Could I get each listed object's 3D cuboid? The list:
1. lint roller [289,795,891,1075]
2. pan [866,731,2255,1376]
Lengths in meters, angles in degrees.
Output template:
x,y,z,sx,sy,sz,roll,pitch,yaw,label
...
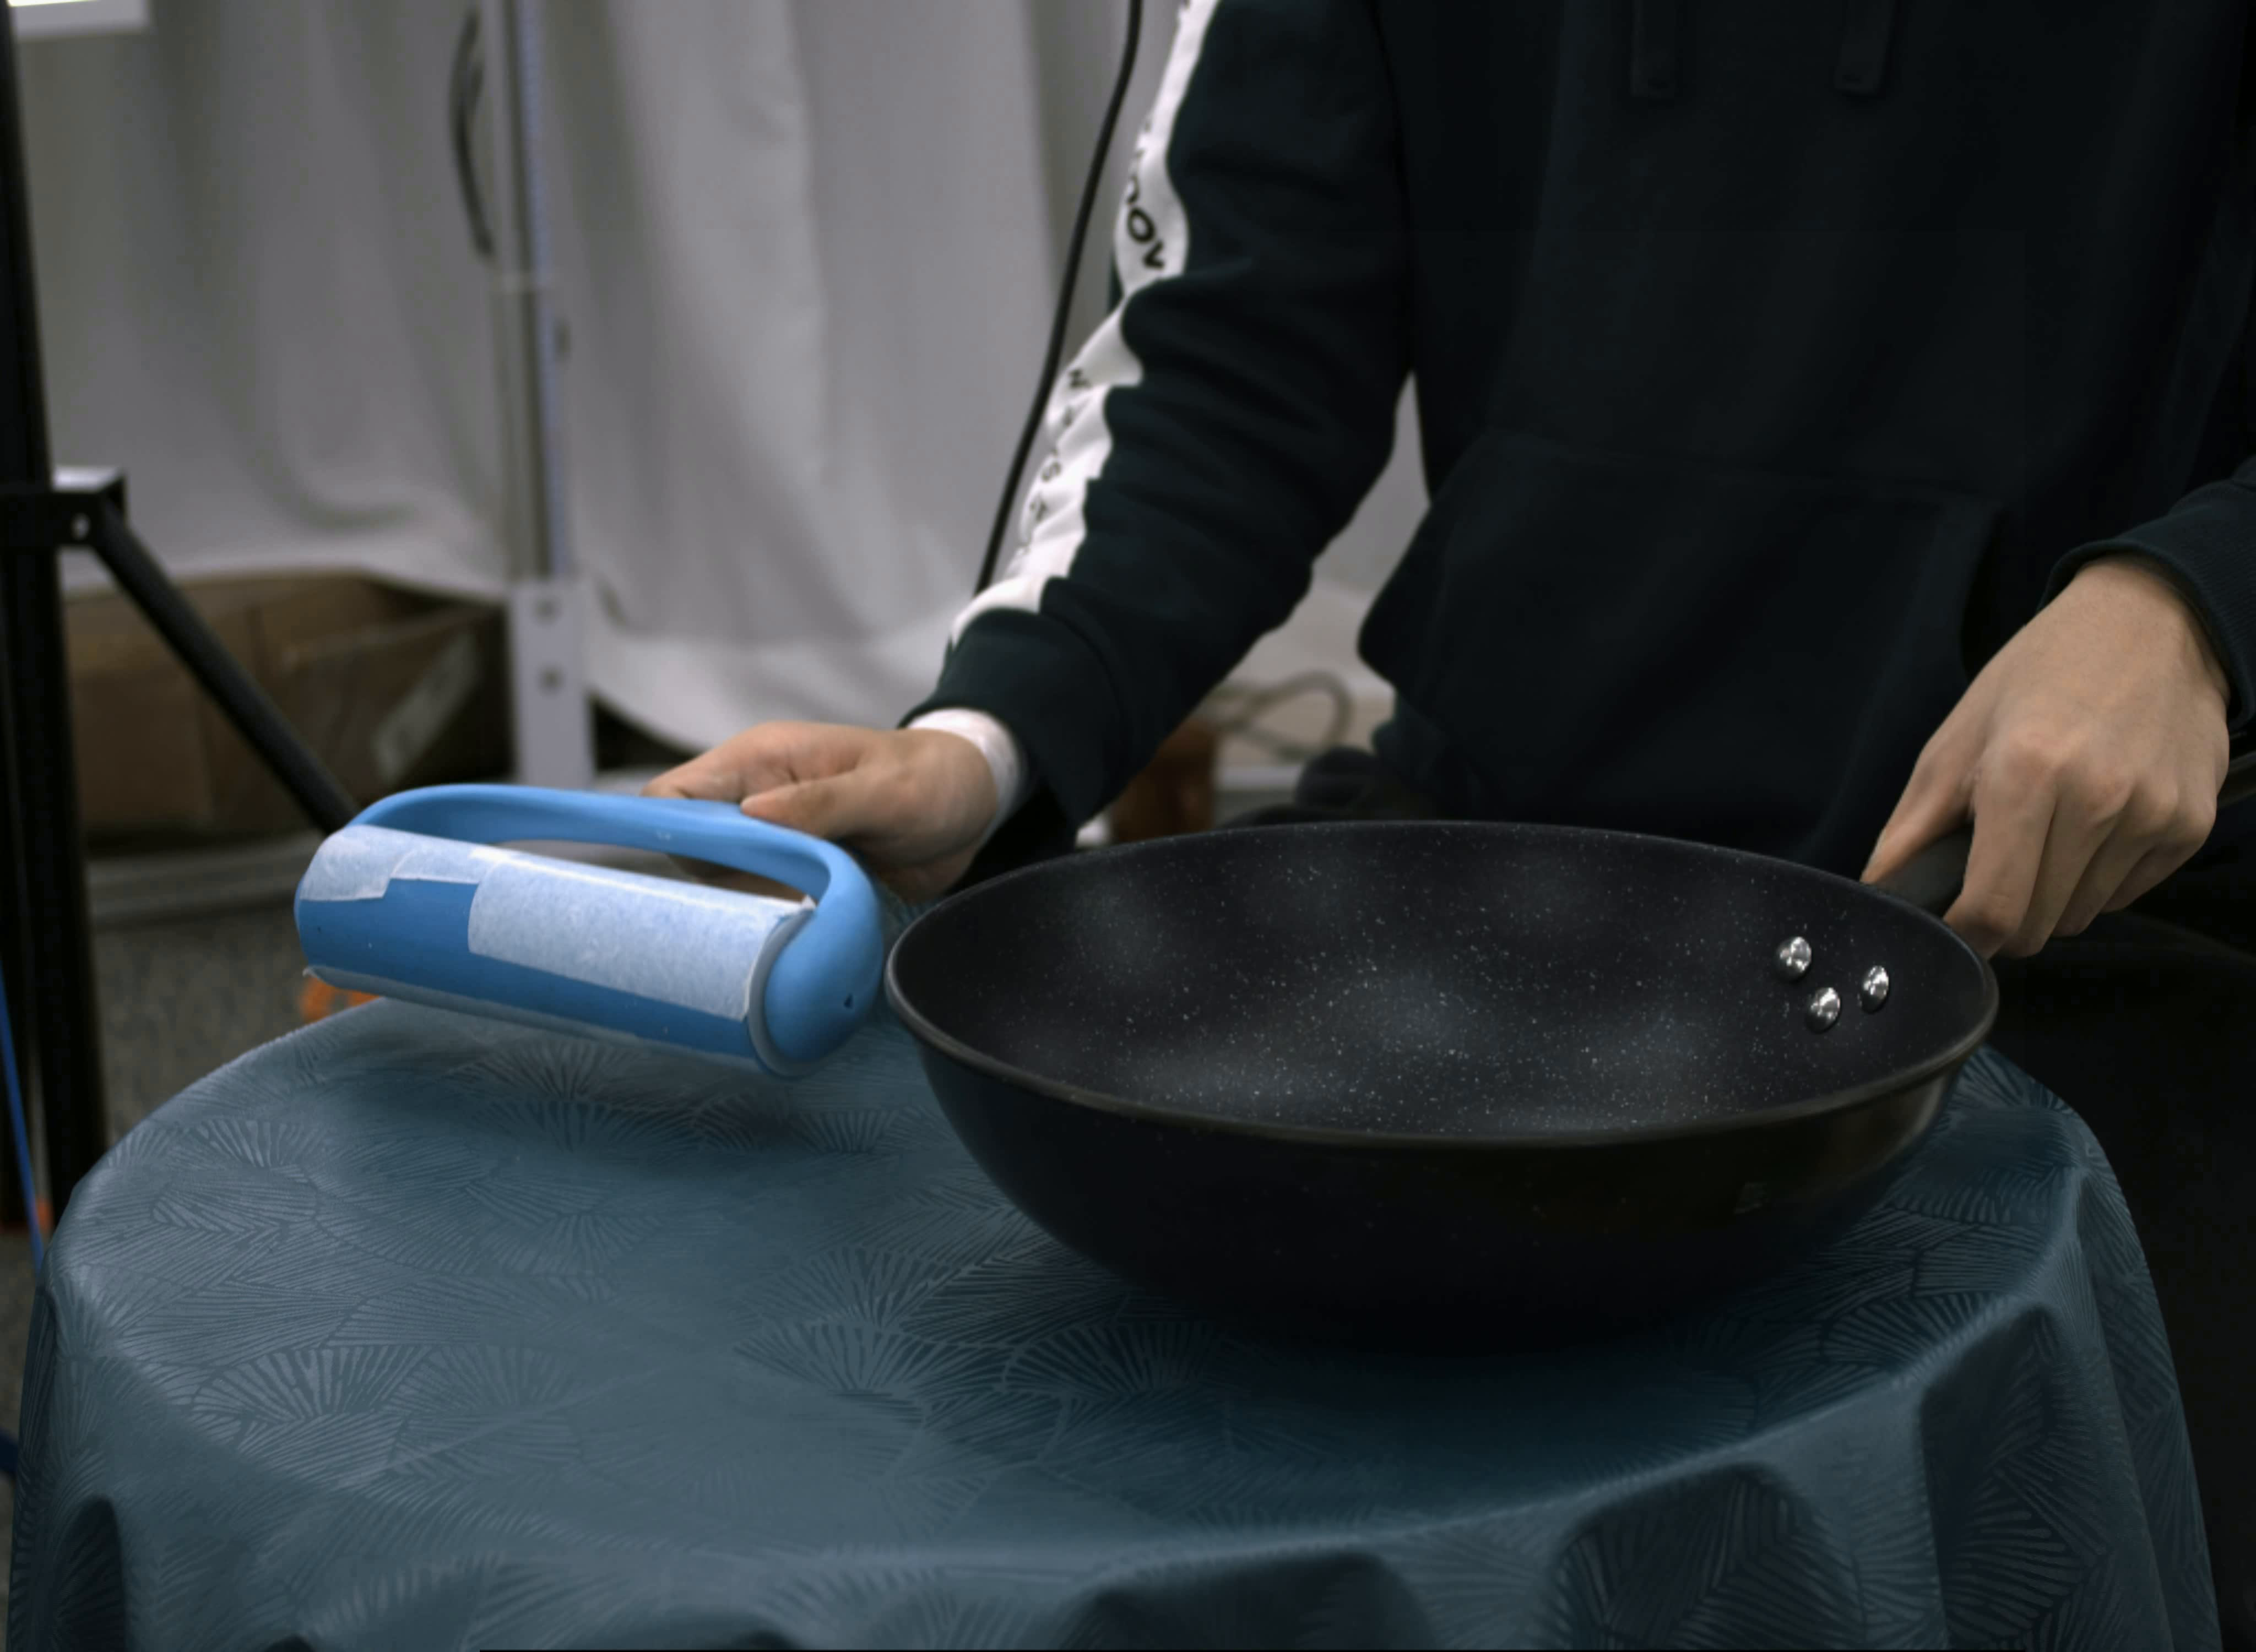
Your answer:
x,y,z,sx,sy,sz,roll,pitch,yaw,label
-0.141,0.024,1.710,0.233,0.068,0.176,5,17,35,lint roller
0.151,0.059,1.511,0.466,0.111,0.317,-9,19,-31,pan
